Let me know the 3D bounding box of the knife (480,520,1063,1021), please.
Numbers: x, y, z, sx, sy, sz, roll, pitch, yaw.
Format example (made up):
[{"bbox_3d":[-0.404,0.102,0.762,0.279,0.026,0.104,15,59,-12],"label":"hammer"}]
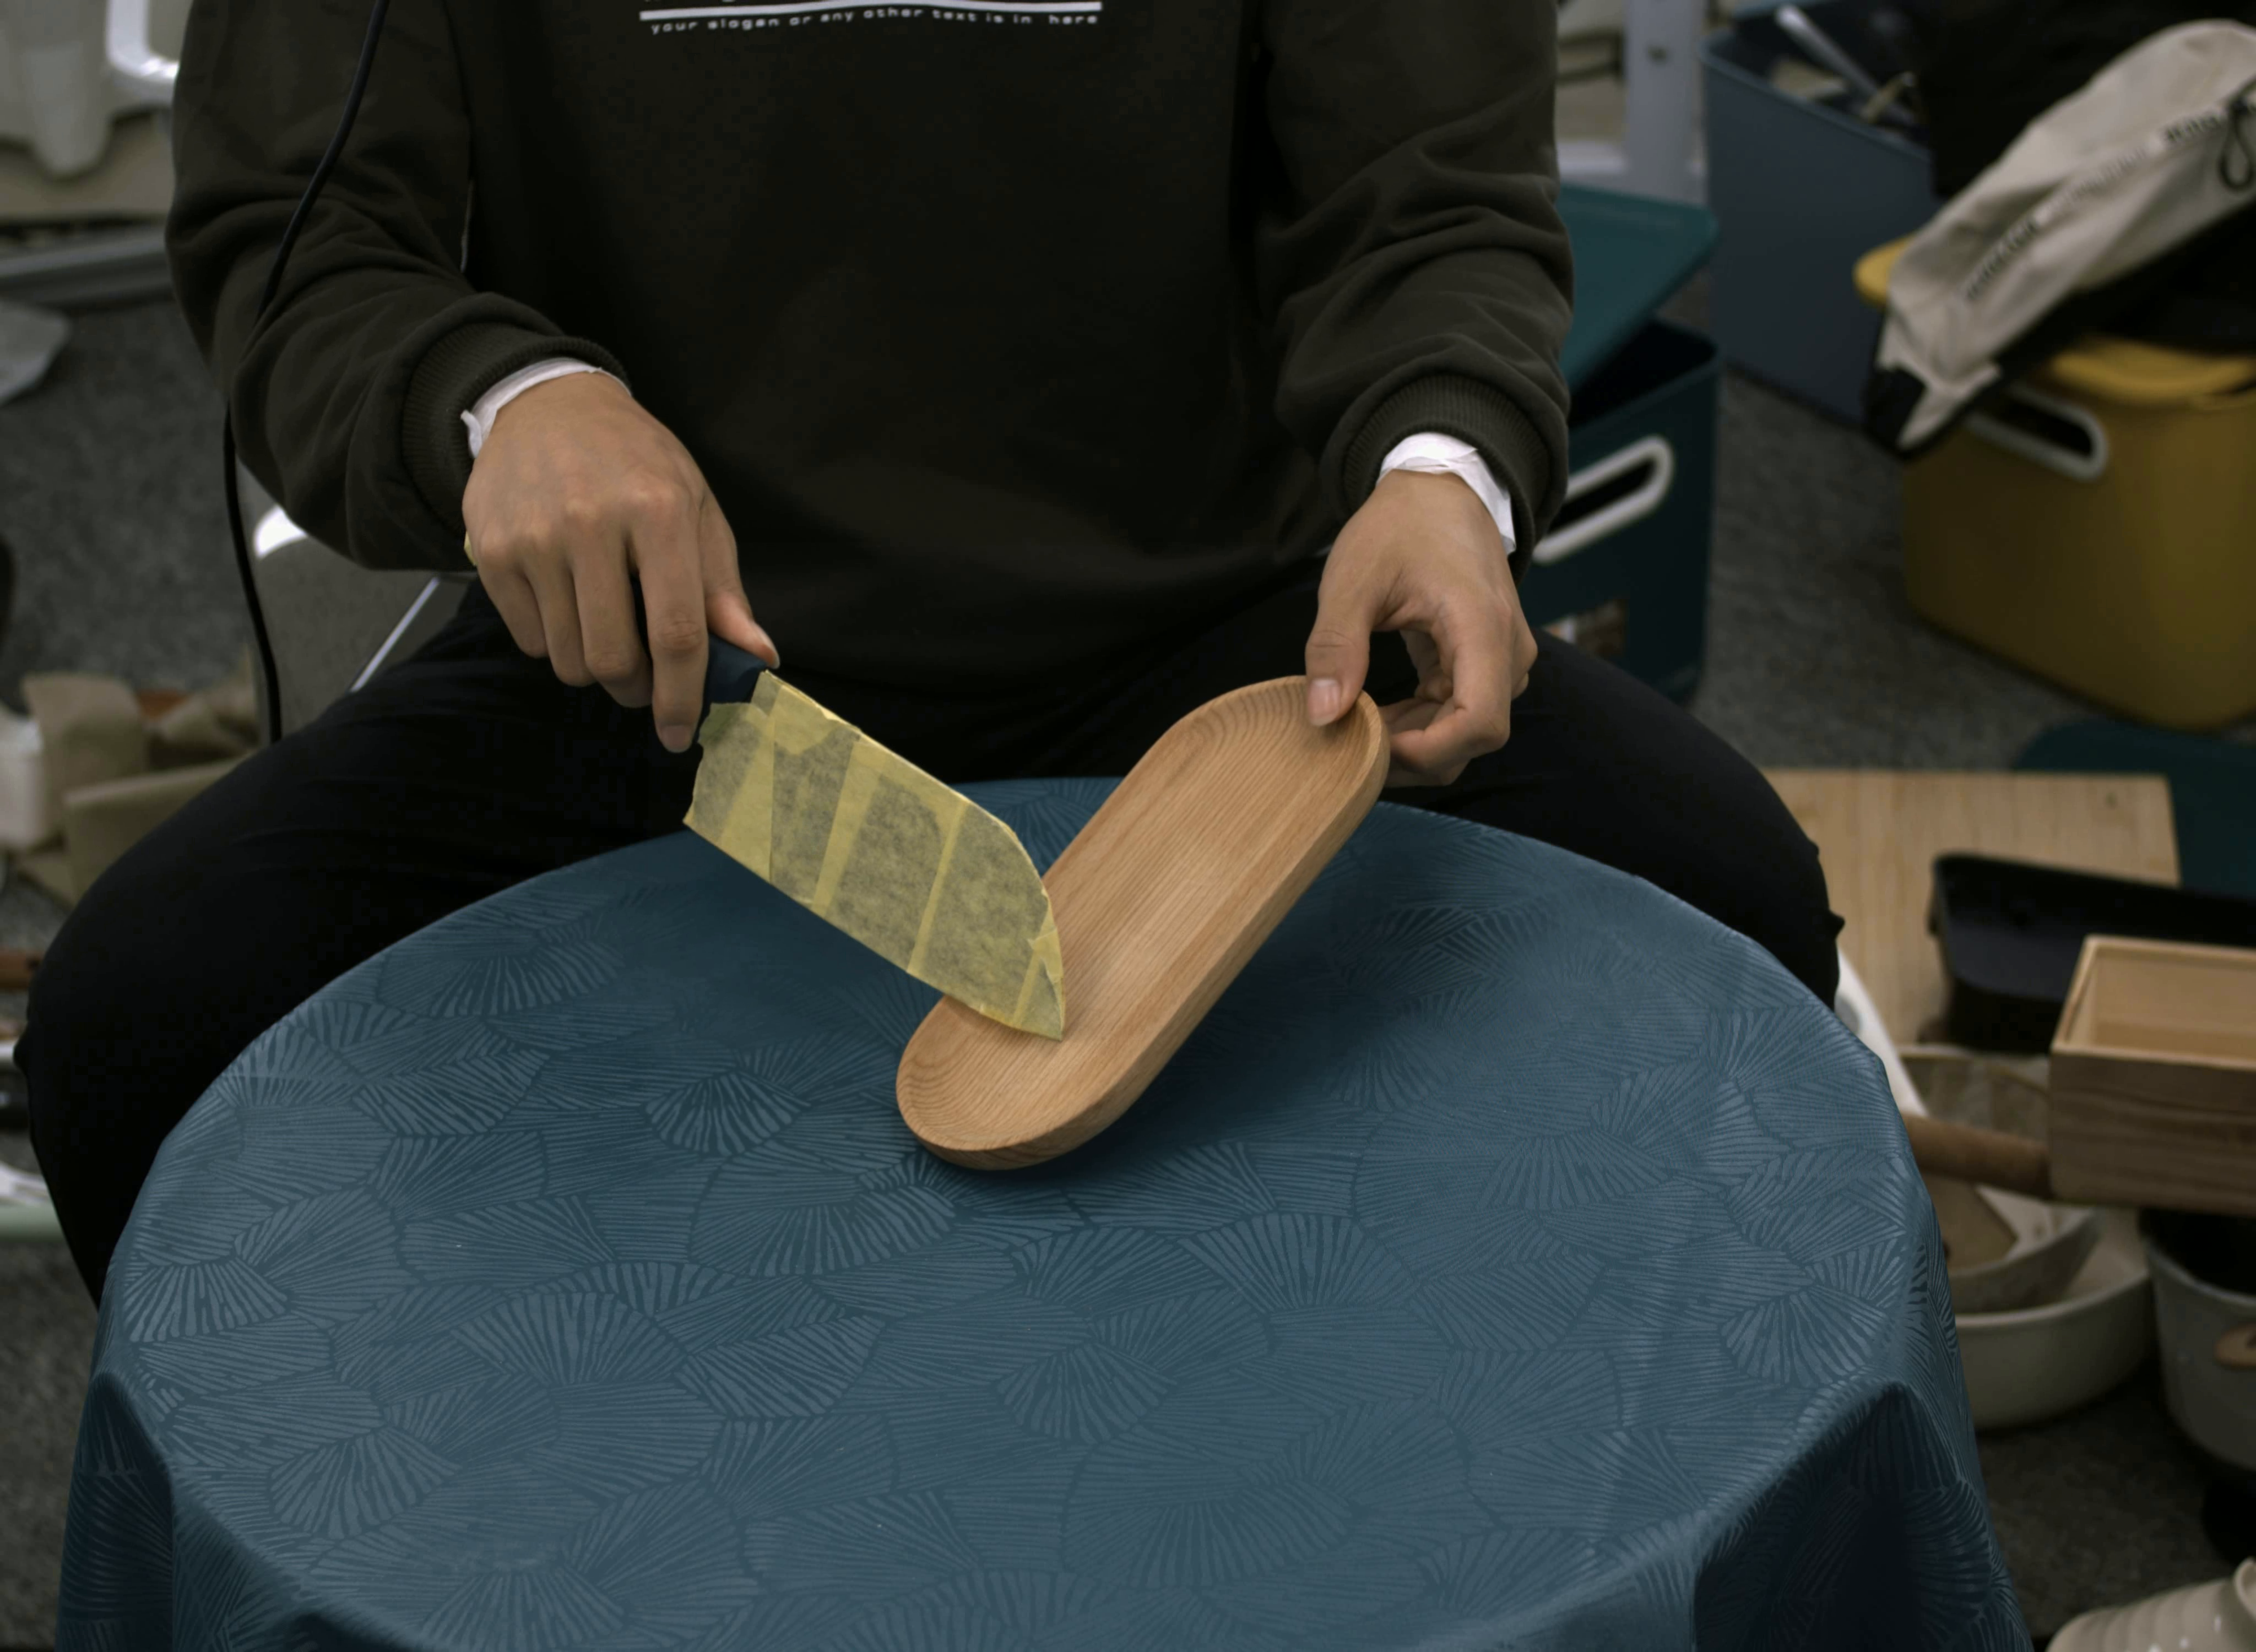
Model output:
[{"bbox_3d":[-0.126,-0.020,1.954,0.290,0.080,0.027,36,28,27],"label":"knife"}]

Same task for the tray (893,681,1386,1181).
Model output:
[{"bbox_3d":[0.006,0.035,1.924,0.101,0.020,0.235,9,51,44],"label":"tray"}]
